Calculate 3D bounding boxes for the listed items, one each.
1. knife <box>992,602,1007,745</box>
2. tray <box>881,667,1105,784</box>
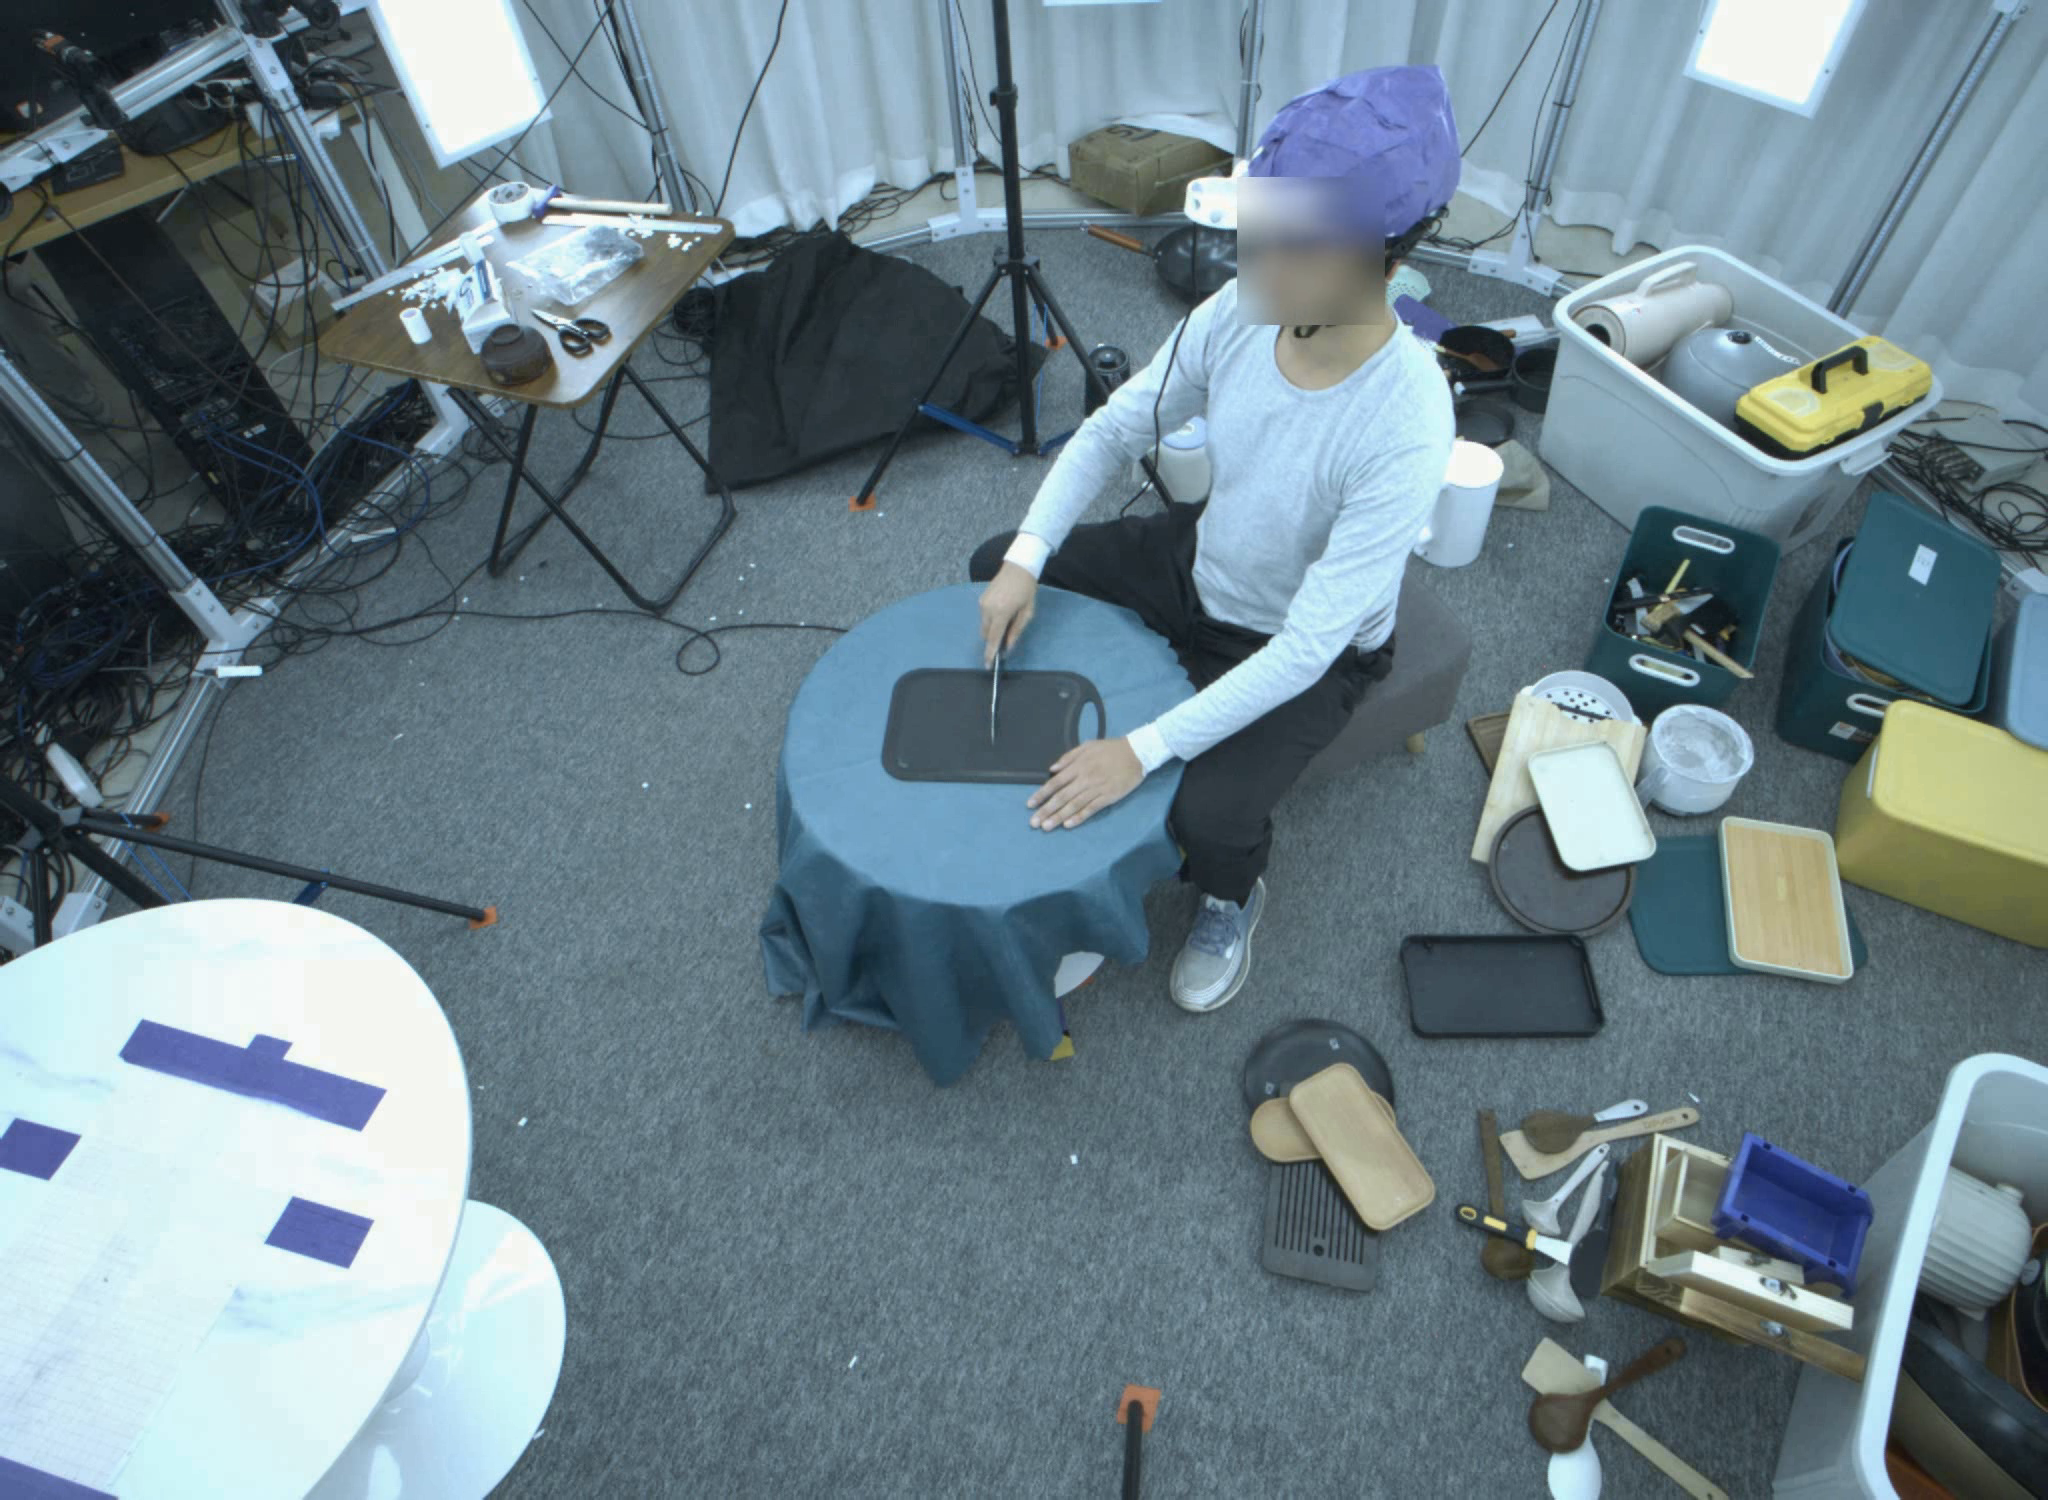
[{"bbox_3d":[-0.040,-0.118,1.841,0.016,0.025,0.236,-2,69,14],"label":"knife"},{"bbox_3d":[-0.043,-0.041,1.822,0.325,0.010,0.209,2,55,3],"label":"tray"}]
